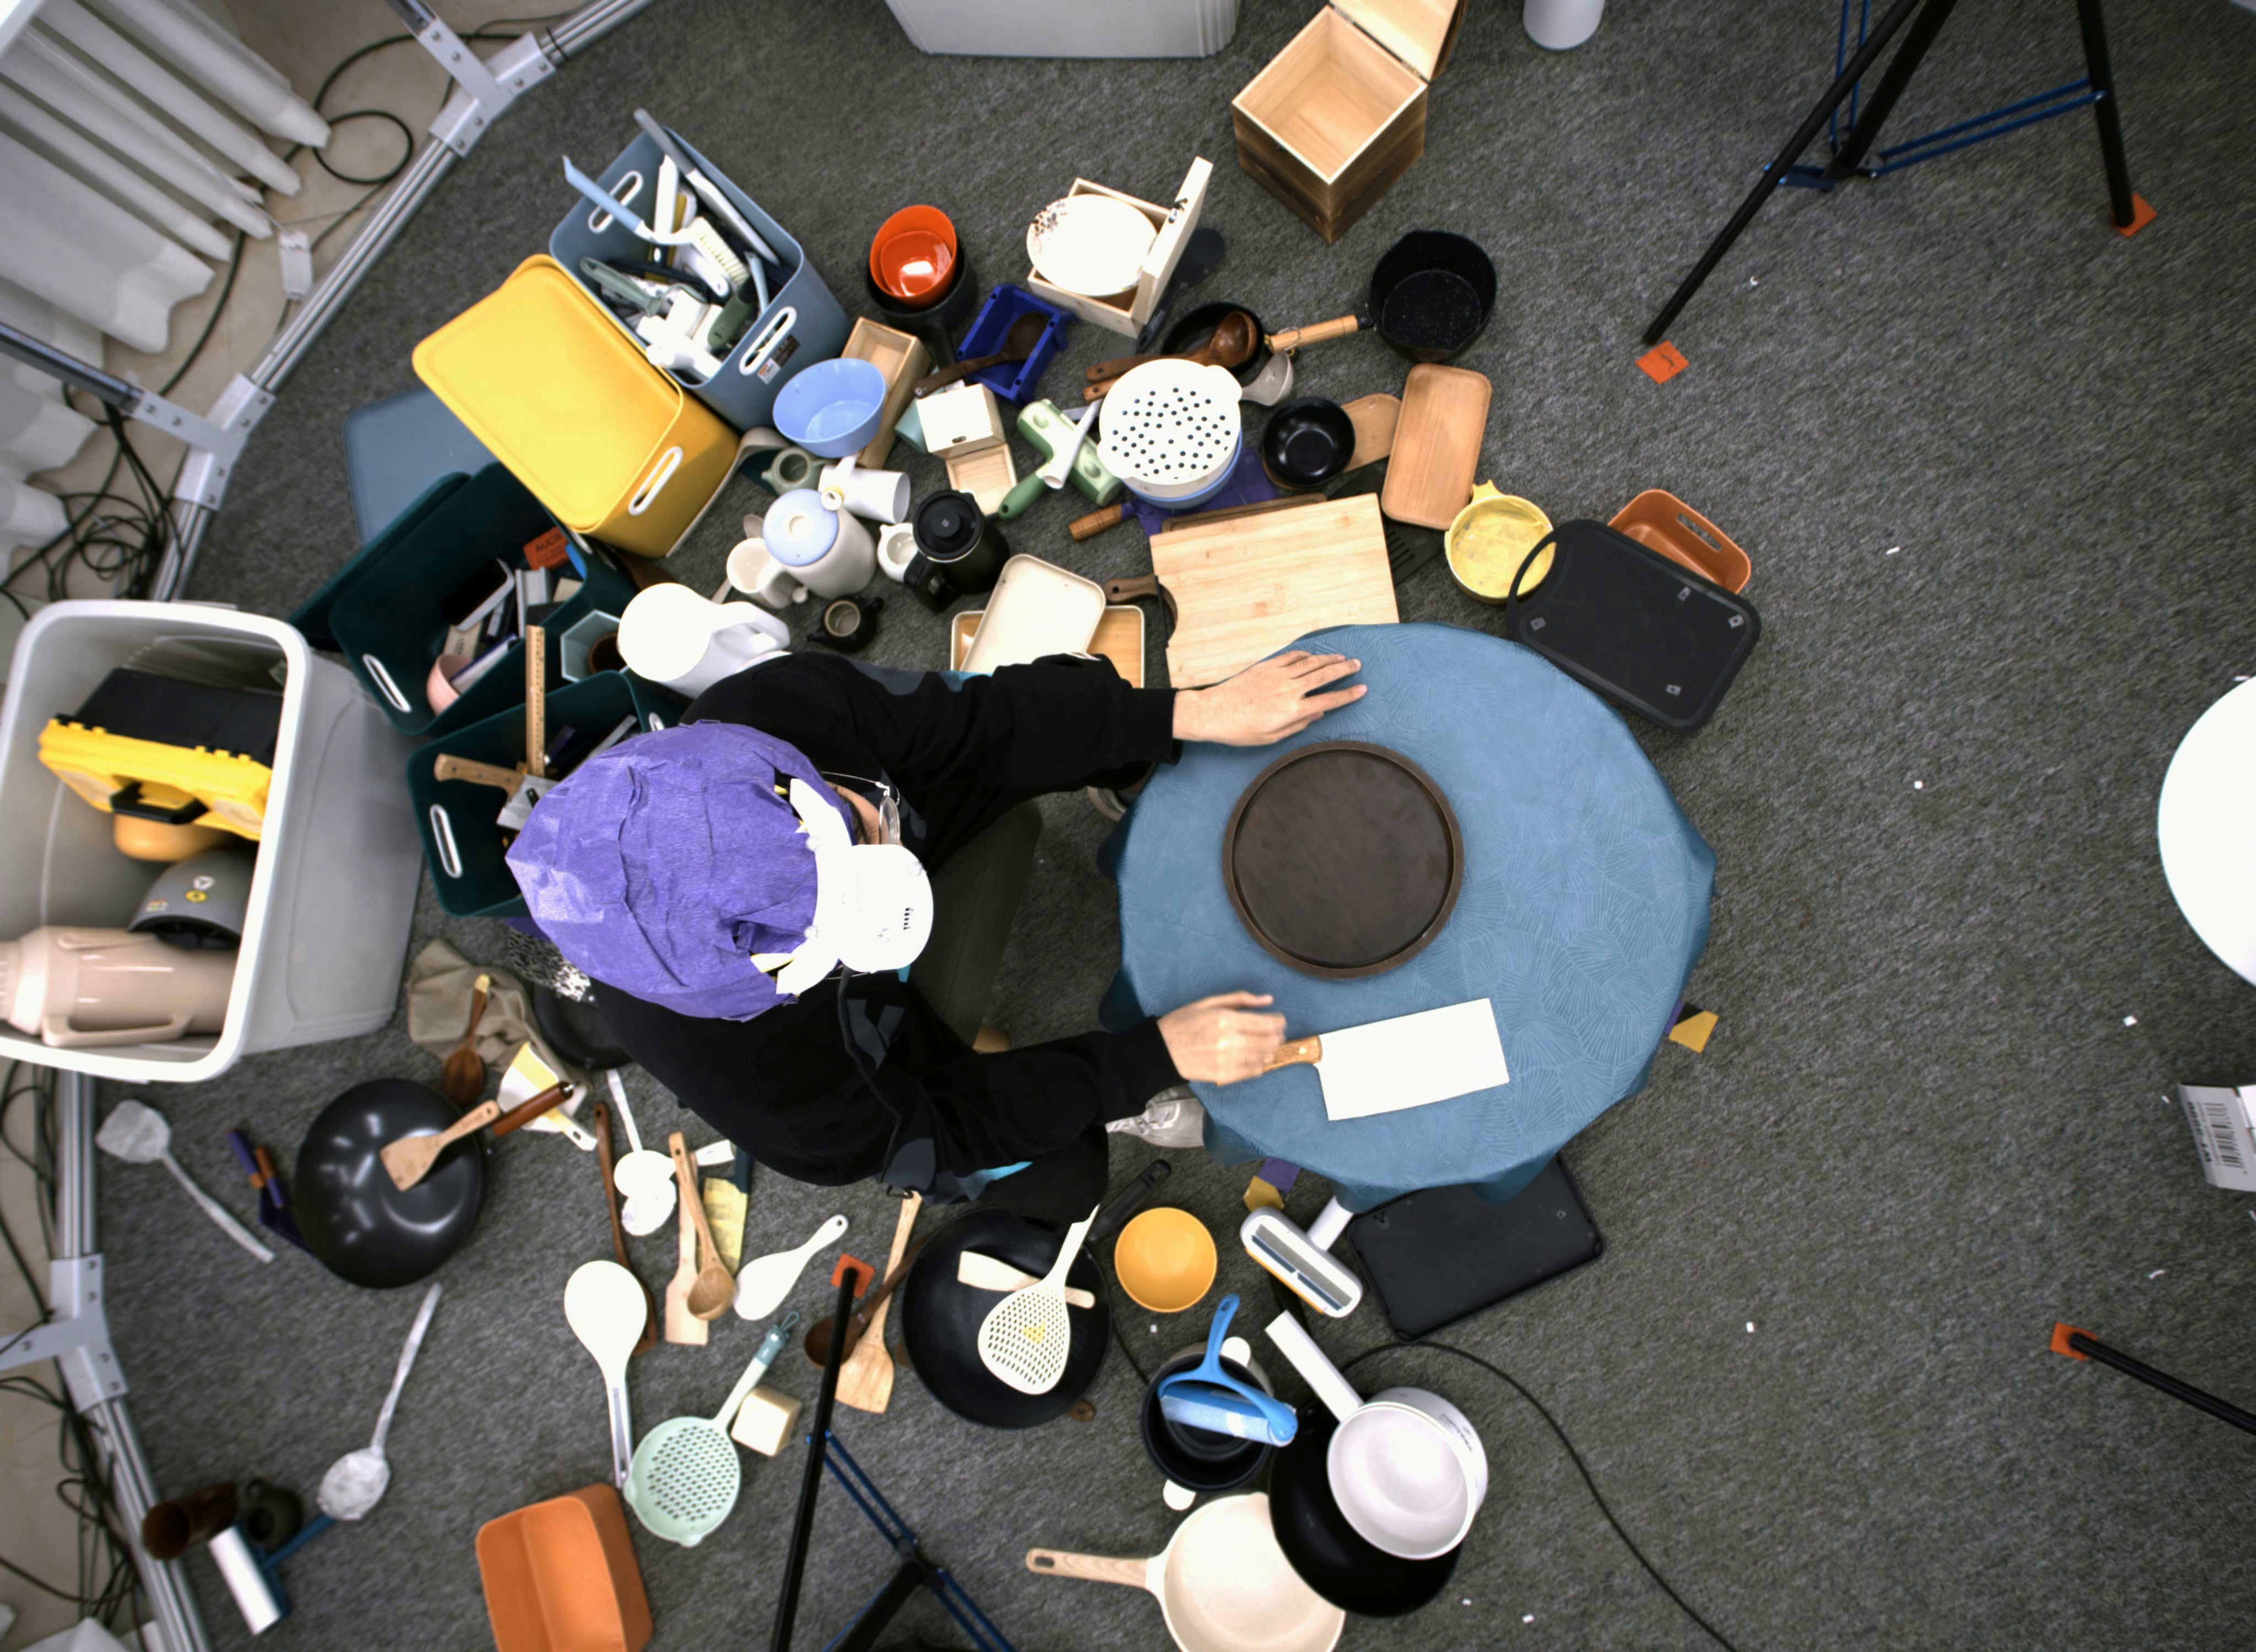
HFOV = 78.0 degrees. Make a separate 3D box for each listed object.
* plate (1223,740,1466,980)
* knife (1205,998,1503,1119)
[{"bbox_3d":[0.227,0.034,1.457,0.256,0.029,0.254,-1,88,9],"label":"plate"},{"bbox_3d":[0.237,0.253,1.448,0.307,0.021,0.092,-13,86,7],"label":"knife"}]
